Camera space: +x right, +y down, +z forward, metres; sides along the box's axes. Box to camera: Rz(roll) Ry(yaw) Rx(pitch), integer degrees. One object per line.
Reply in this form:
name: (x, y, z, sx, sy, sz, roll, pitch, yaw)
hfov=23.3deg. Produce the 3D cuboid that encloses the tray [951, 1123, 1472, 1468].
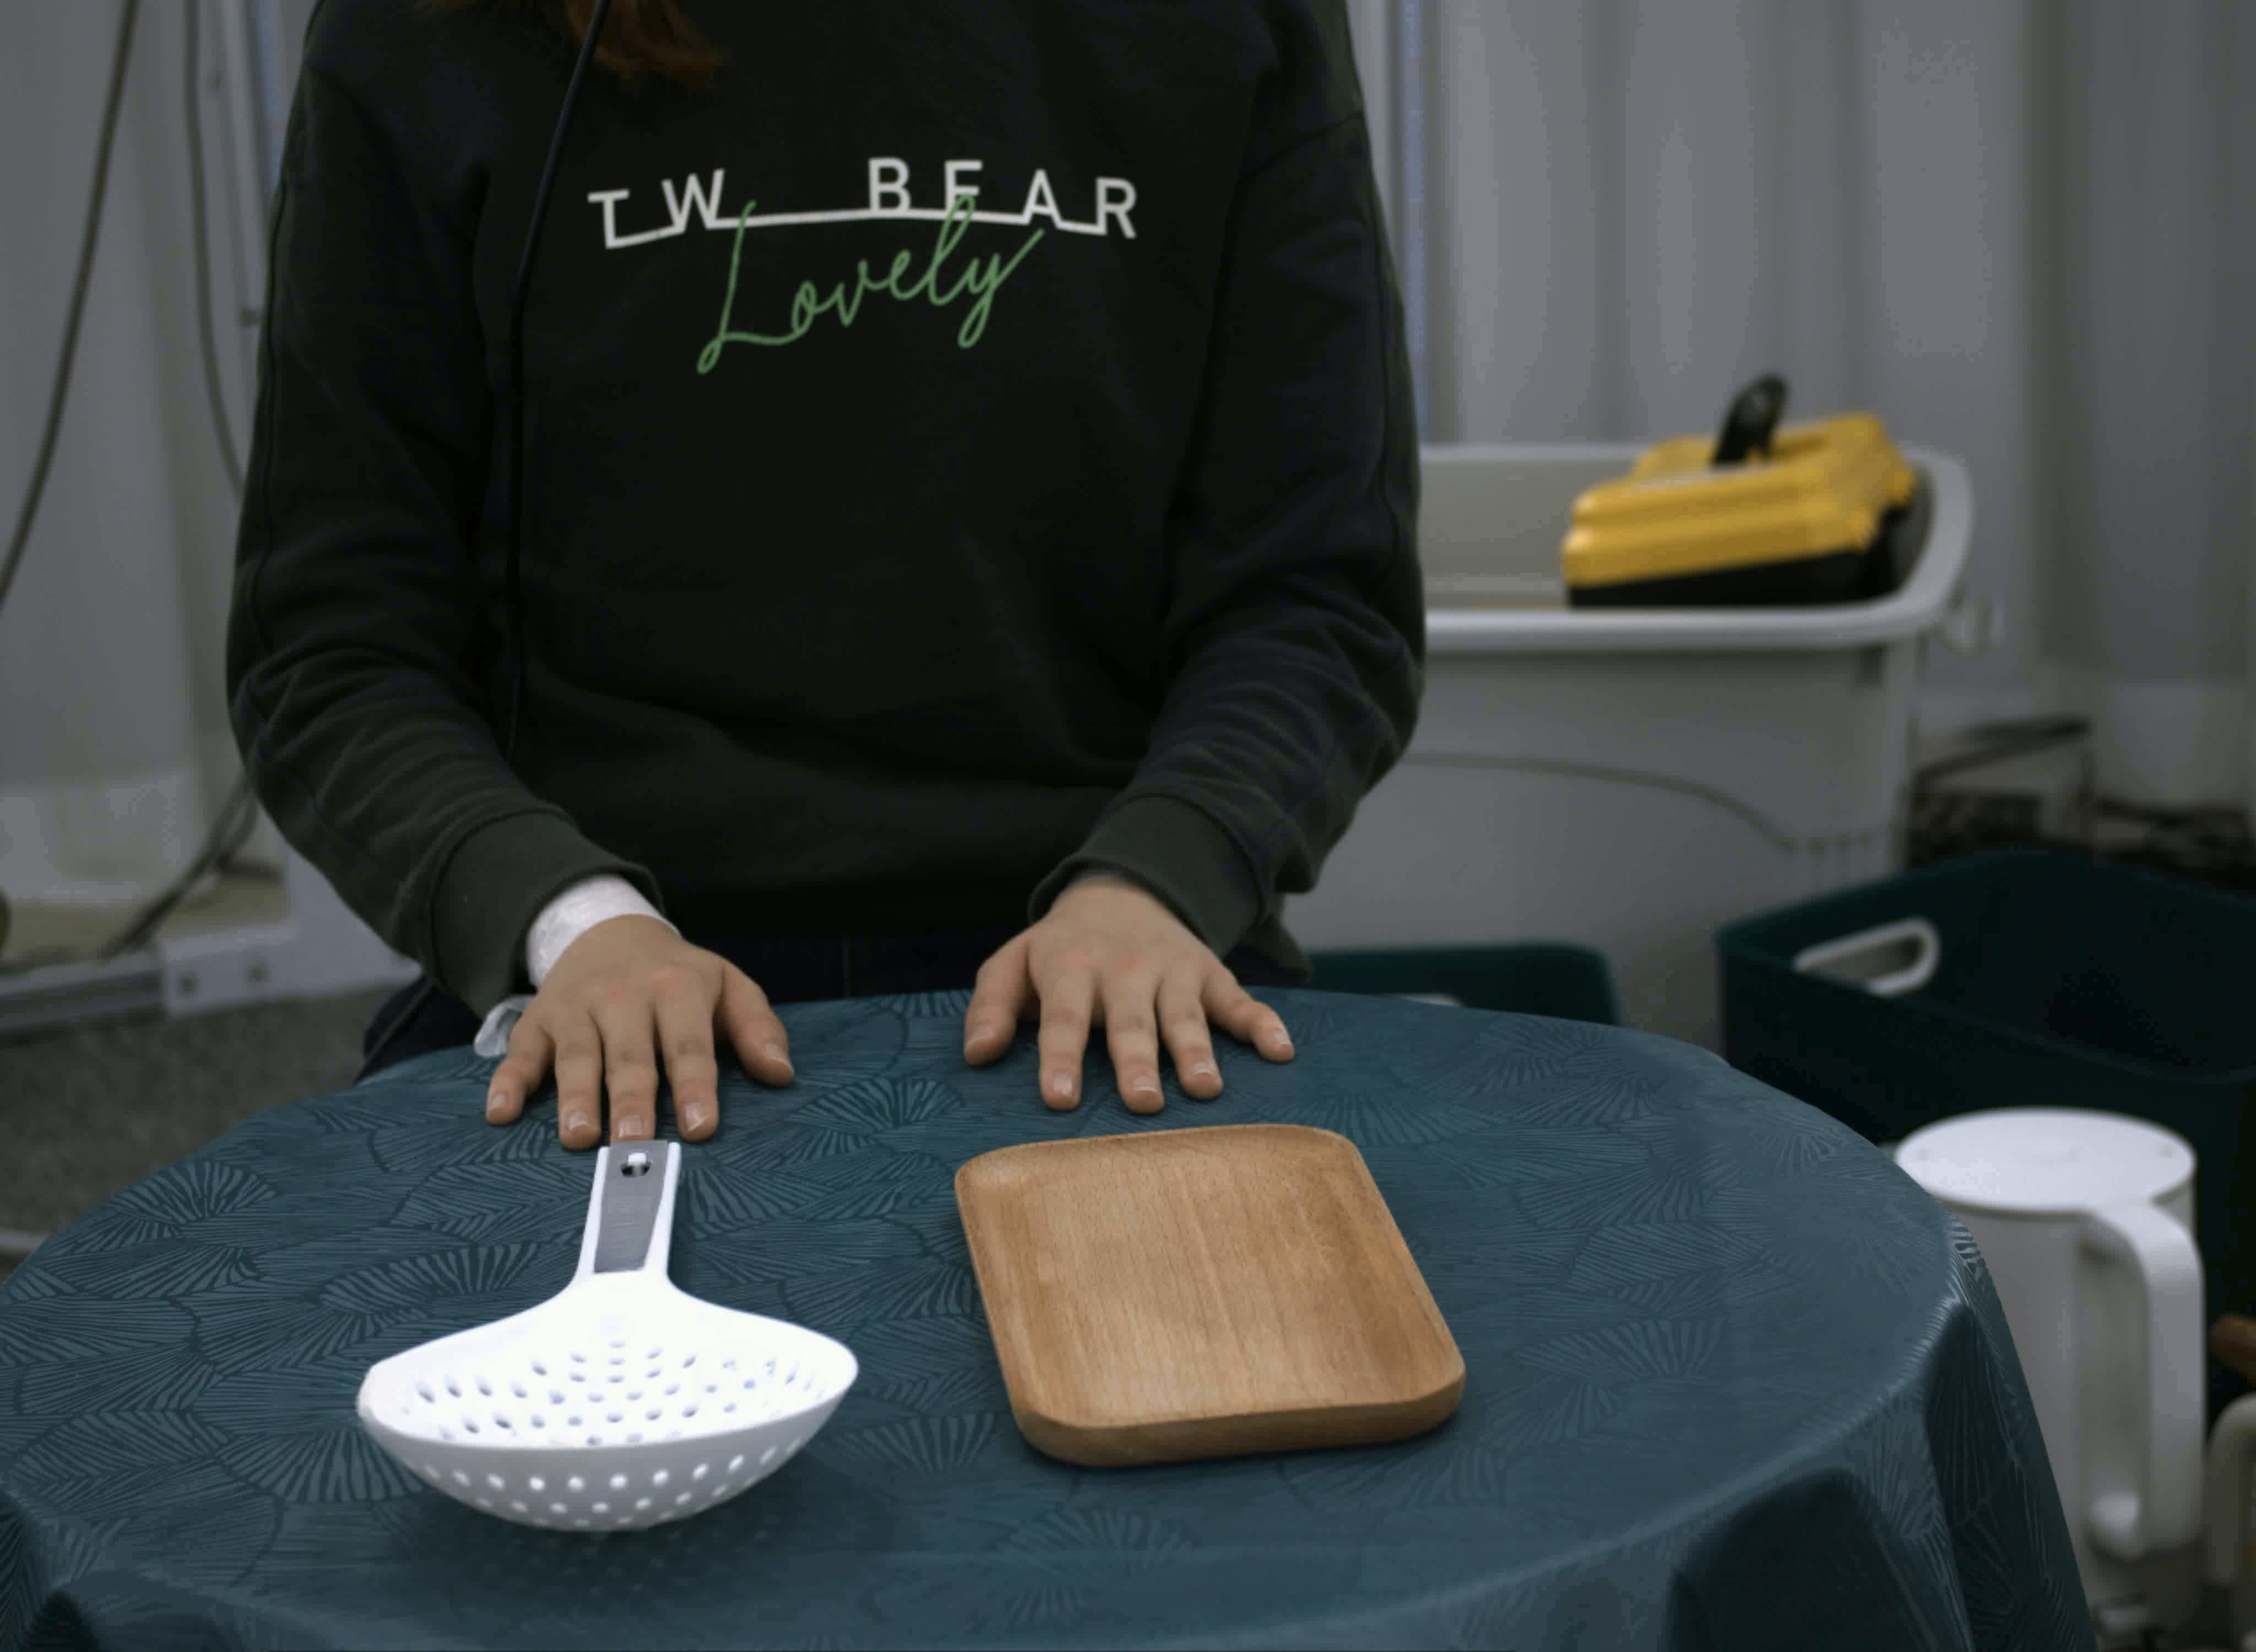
tray: (0.020, 0.135, 1.604, 0.130, 0.023, 0.252, -2, 14, -6)

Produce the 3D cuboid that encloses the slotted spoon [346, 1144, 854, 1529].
slotted spoon: (-0.146, 0.137, 1.570, 0.135, 0.045, 0.352, -1, 14, -3)
